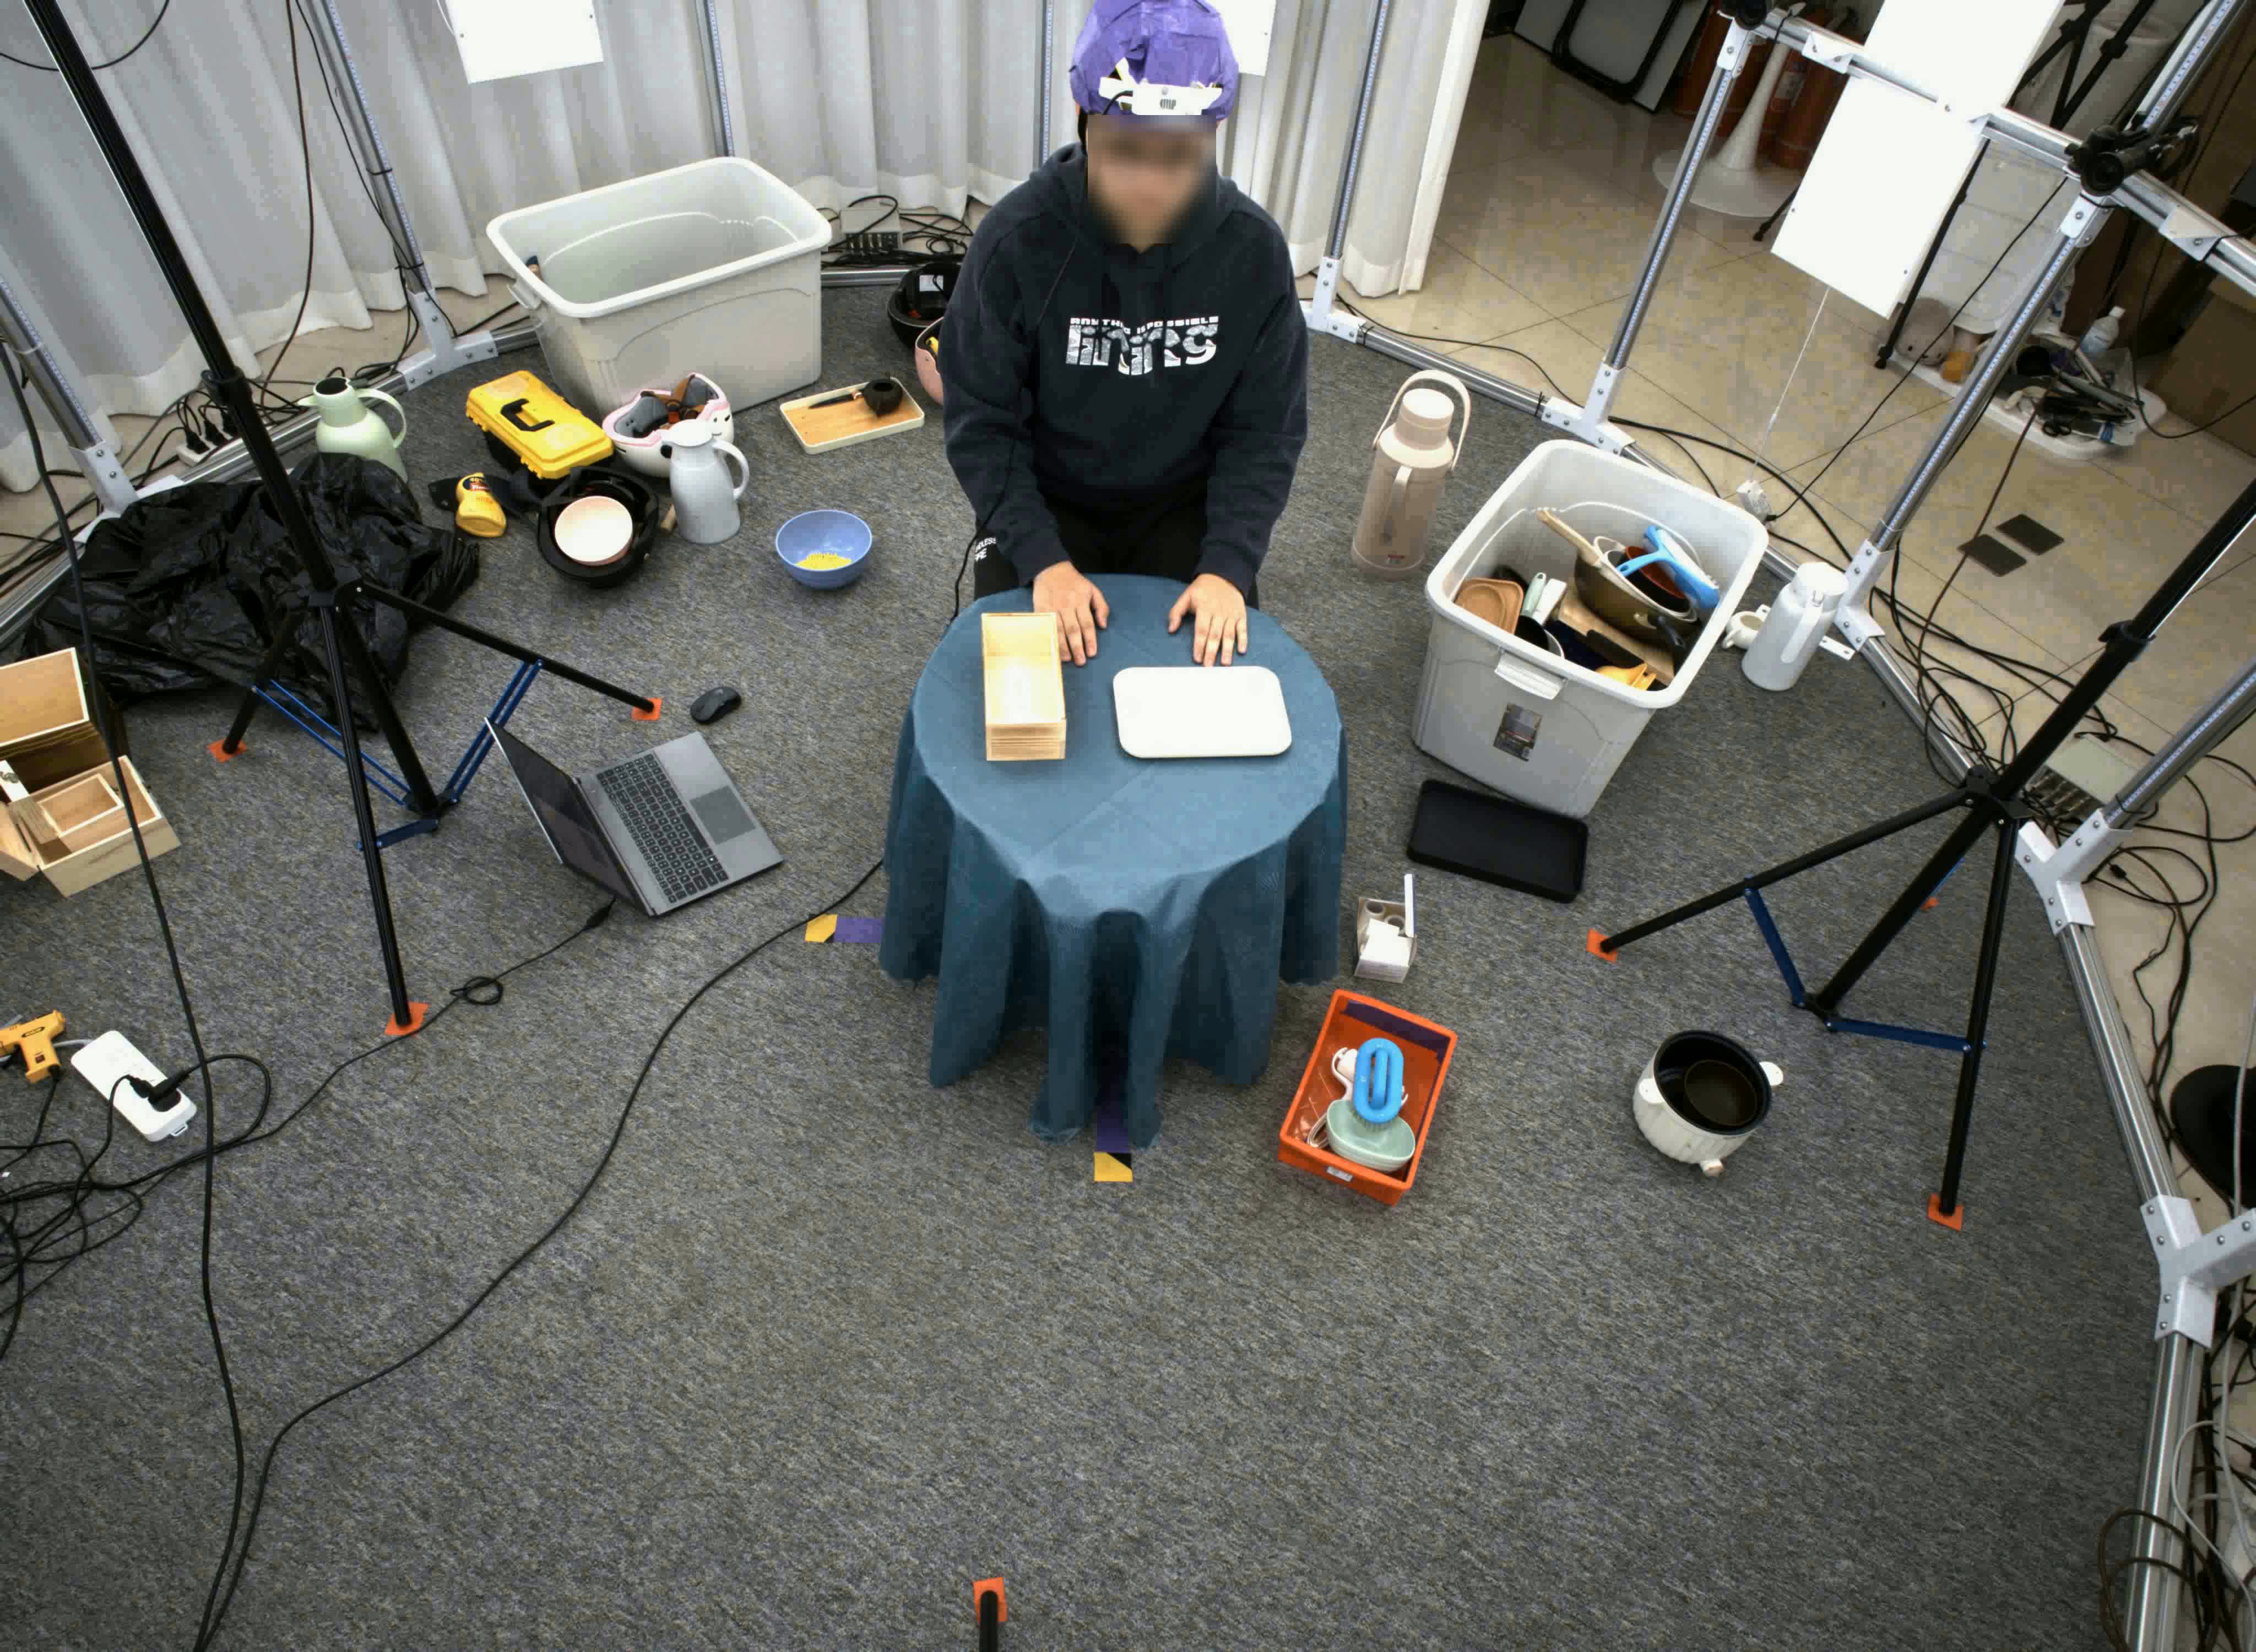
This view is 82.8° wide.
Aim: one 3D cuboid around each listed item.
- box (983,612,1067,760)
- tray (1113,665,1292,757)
[{"bbox_3d":[-0.145,-0.196,1.772,0.107,0.078,0.217,-2,49,-7],"label":"box"},{"bbox_3d":[0.102,-0.161,1.801,0.239,0.017,0.175,-2,49,-6],"label":"tray"}]
